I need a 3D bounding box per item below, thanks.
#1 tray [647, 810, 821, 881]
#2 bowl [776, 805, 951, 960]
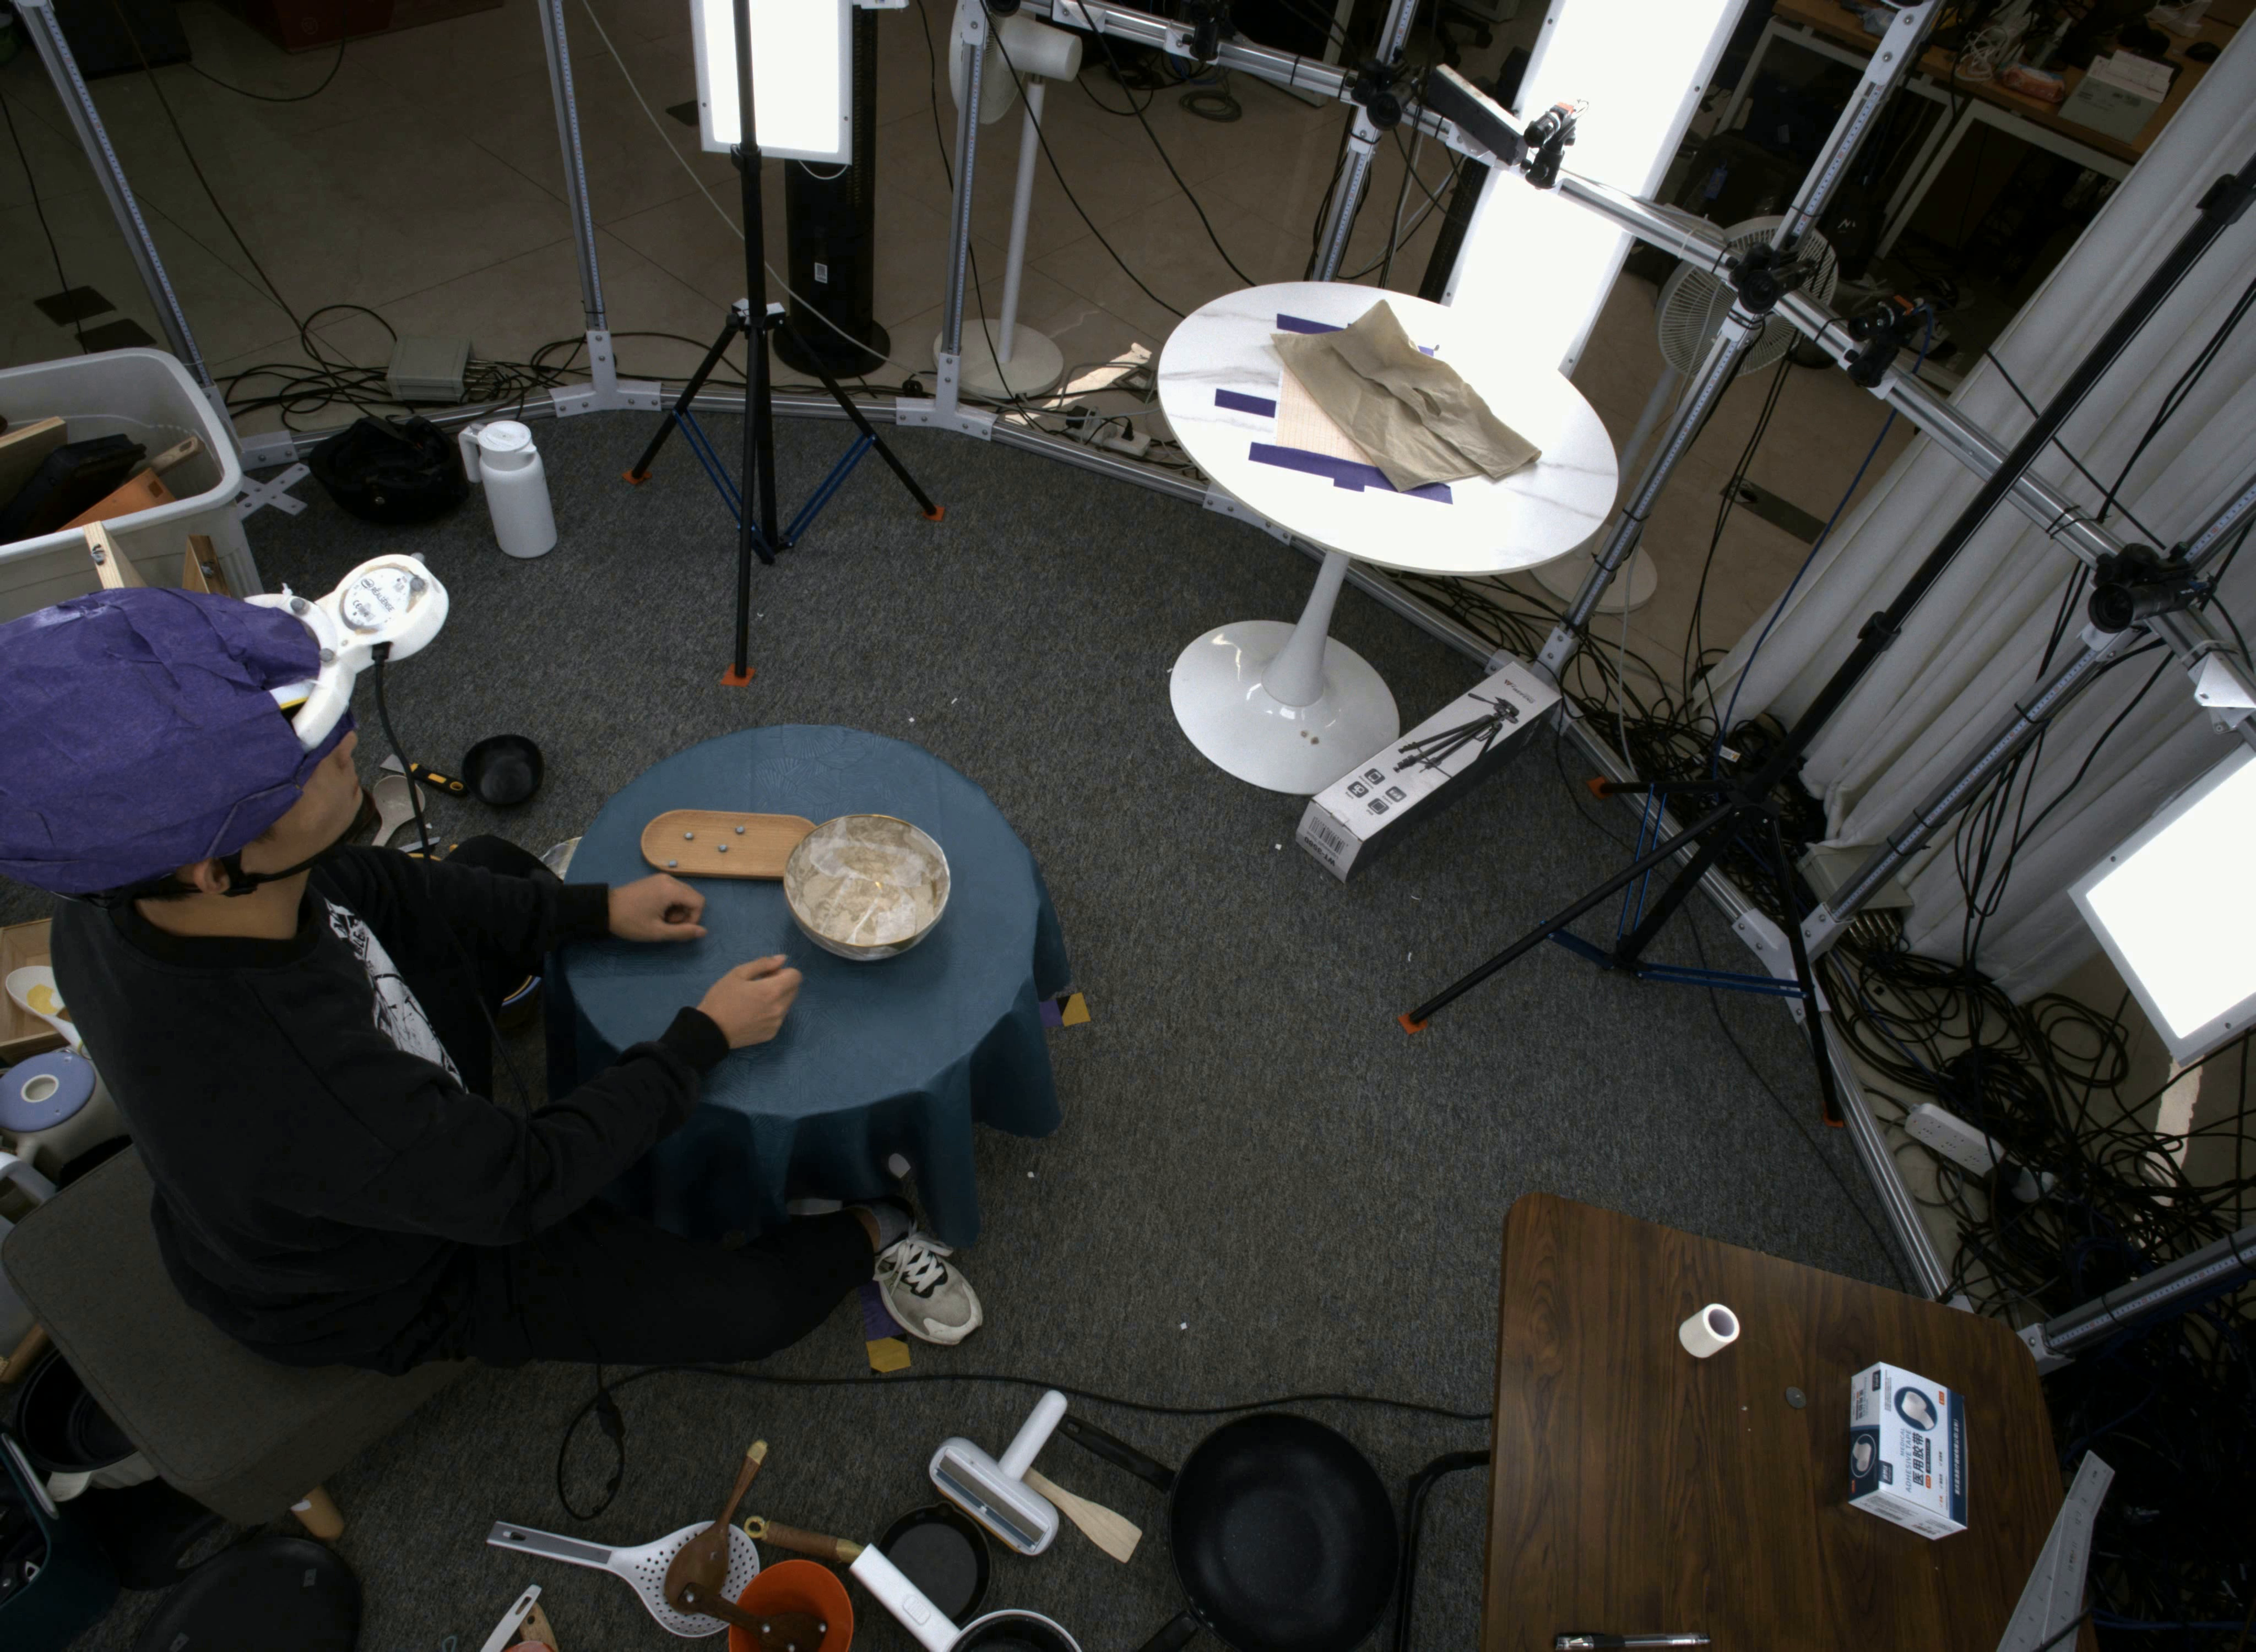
[{"bbox_3d":[-0.507,0.025,1.680,0.232,0.020,0.100,3,55,-15],"label":"tray"},{"bbox_3d":[-0.331,0.086,1.629,0.214,0.096,0.211,8,53,-9],"label":"bowl"}]
